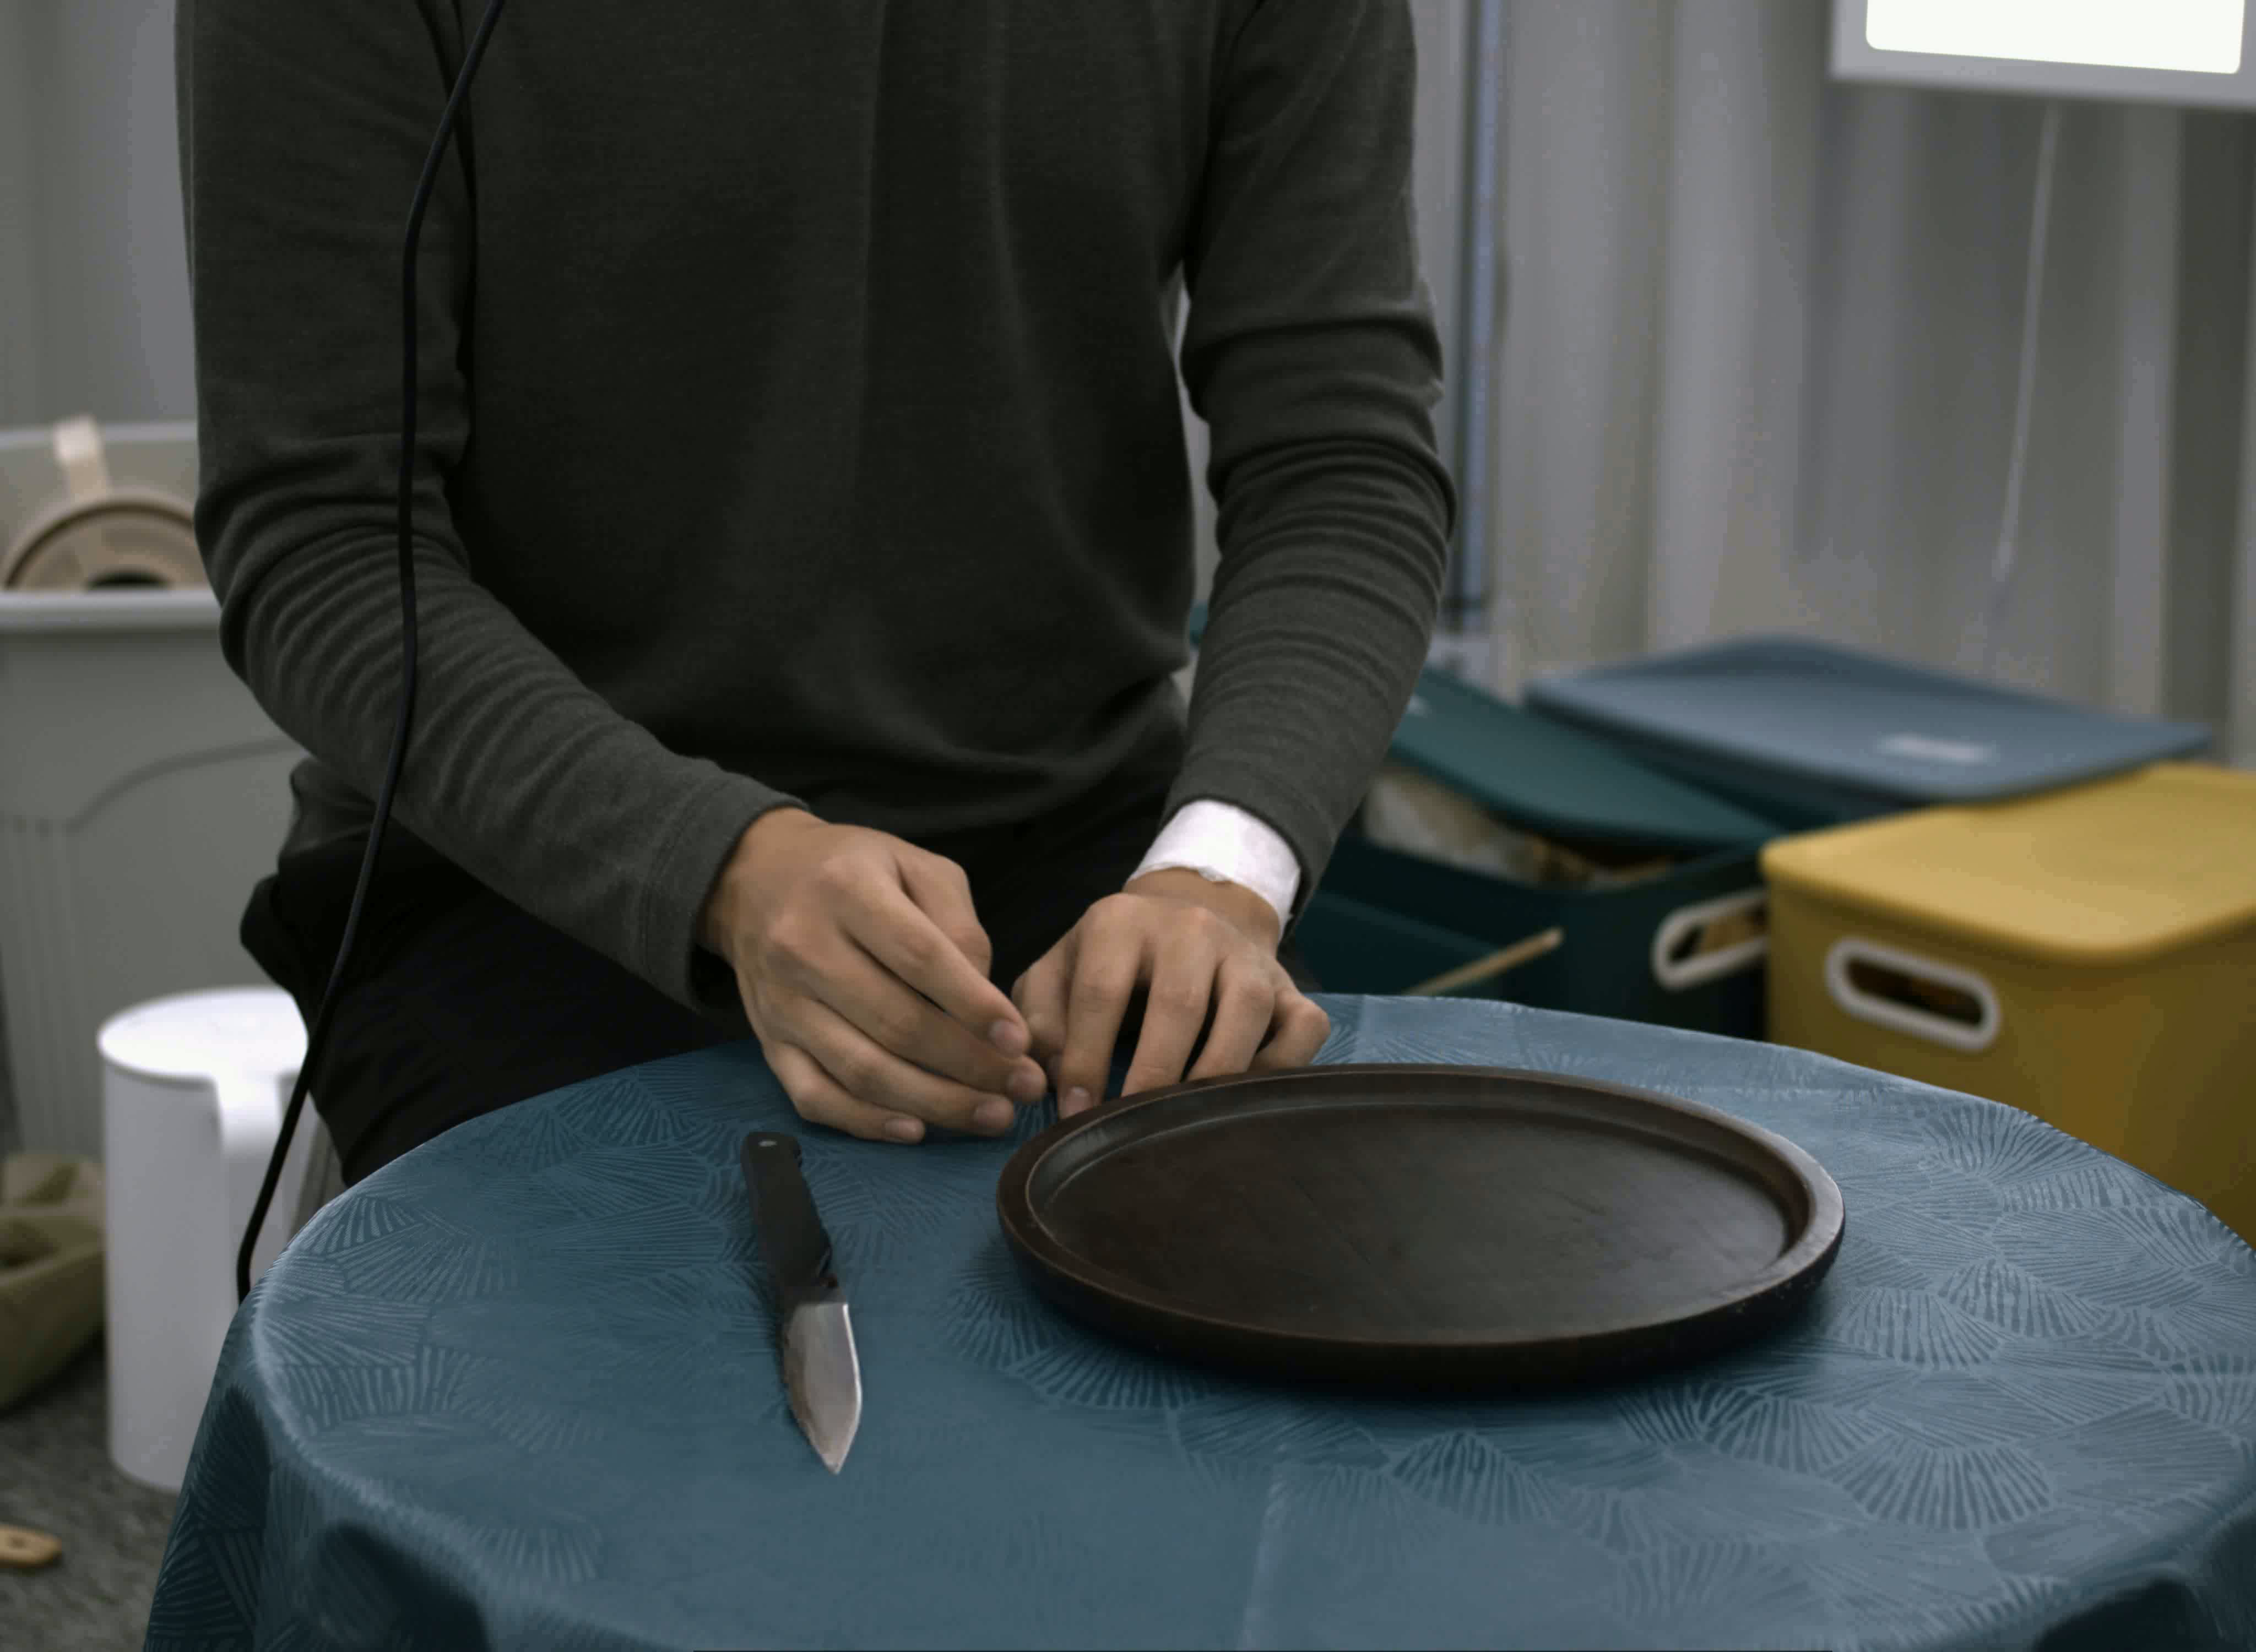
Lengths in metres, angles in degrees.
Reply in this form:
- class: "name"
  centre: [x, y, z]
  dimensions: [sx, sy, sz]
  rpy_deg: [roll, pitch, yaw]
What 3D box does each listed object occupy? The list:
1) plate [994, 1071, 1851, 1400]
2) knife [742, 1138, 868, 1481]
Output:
- class: "plate"
  centre: [0.087, 0.118, 1.565]
  dimensions: [0.254, 0.029, 0.253]
  rpy_deg: [1, 16, 0]
- class: "knife"
  centre: [-0.094, 0.137, 1.511]
  dimensions: [0.024, 0.016, 0.236]
  rpy_deg: [1, 18, -9]
